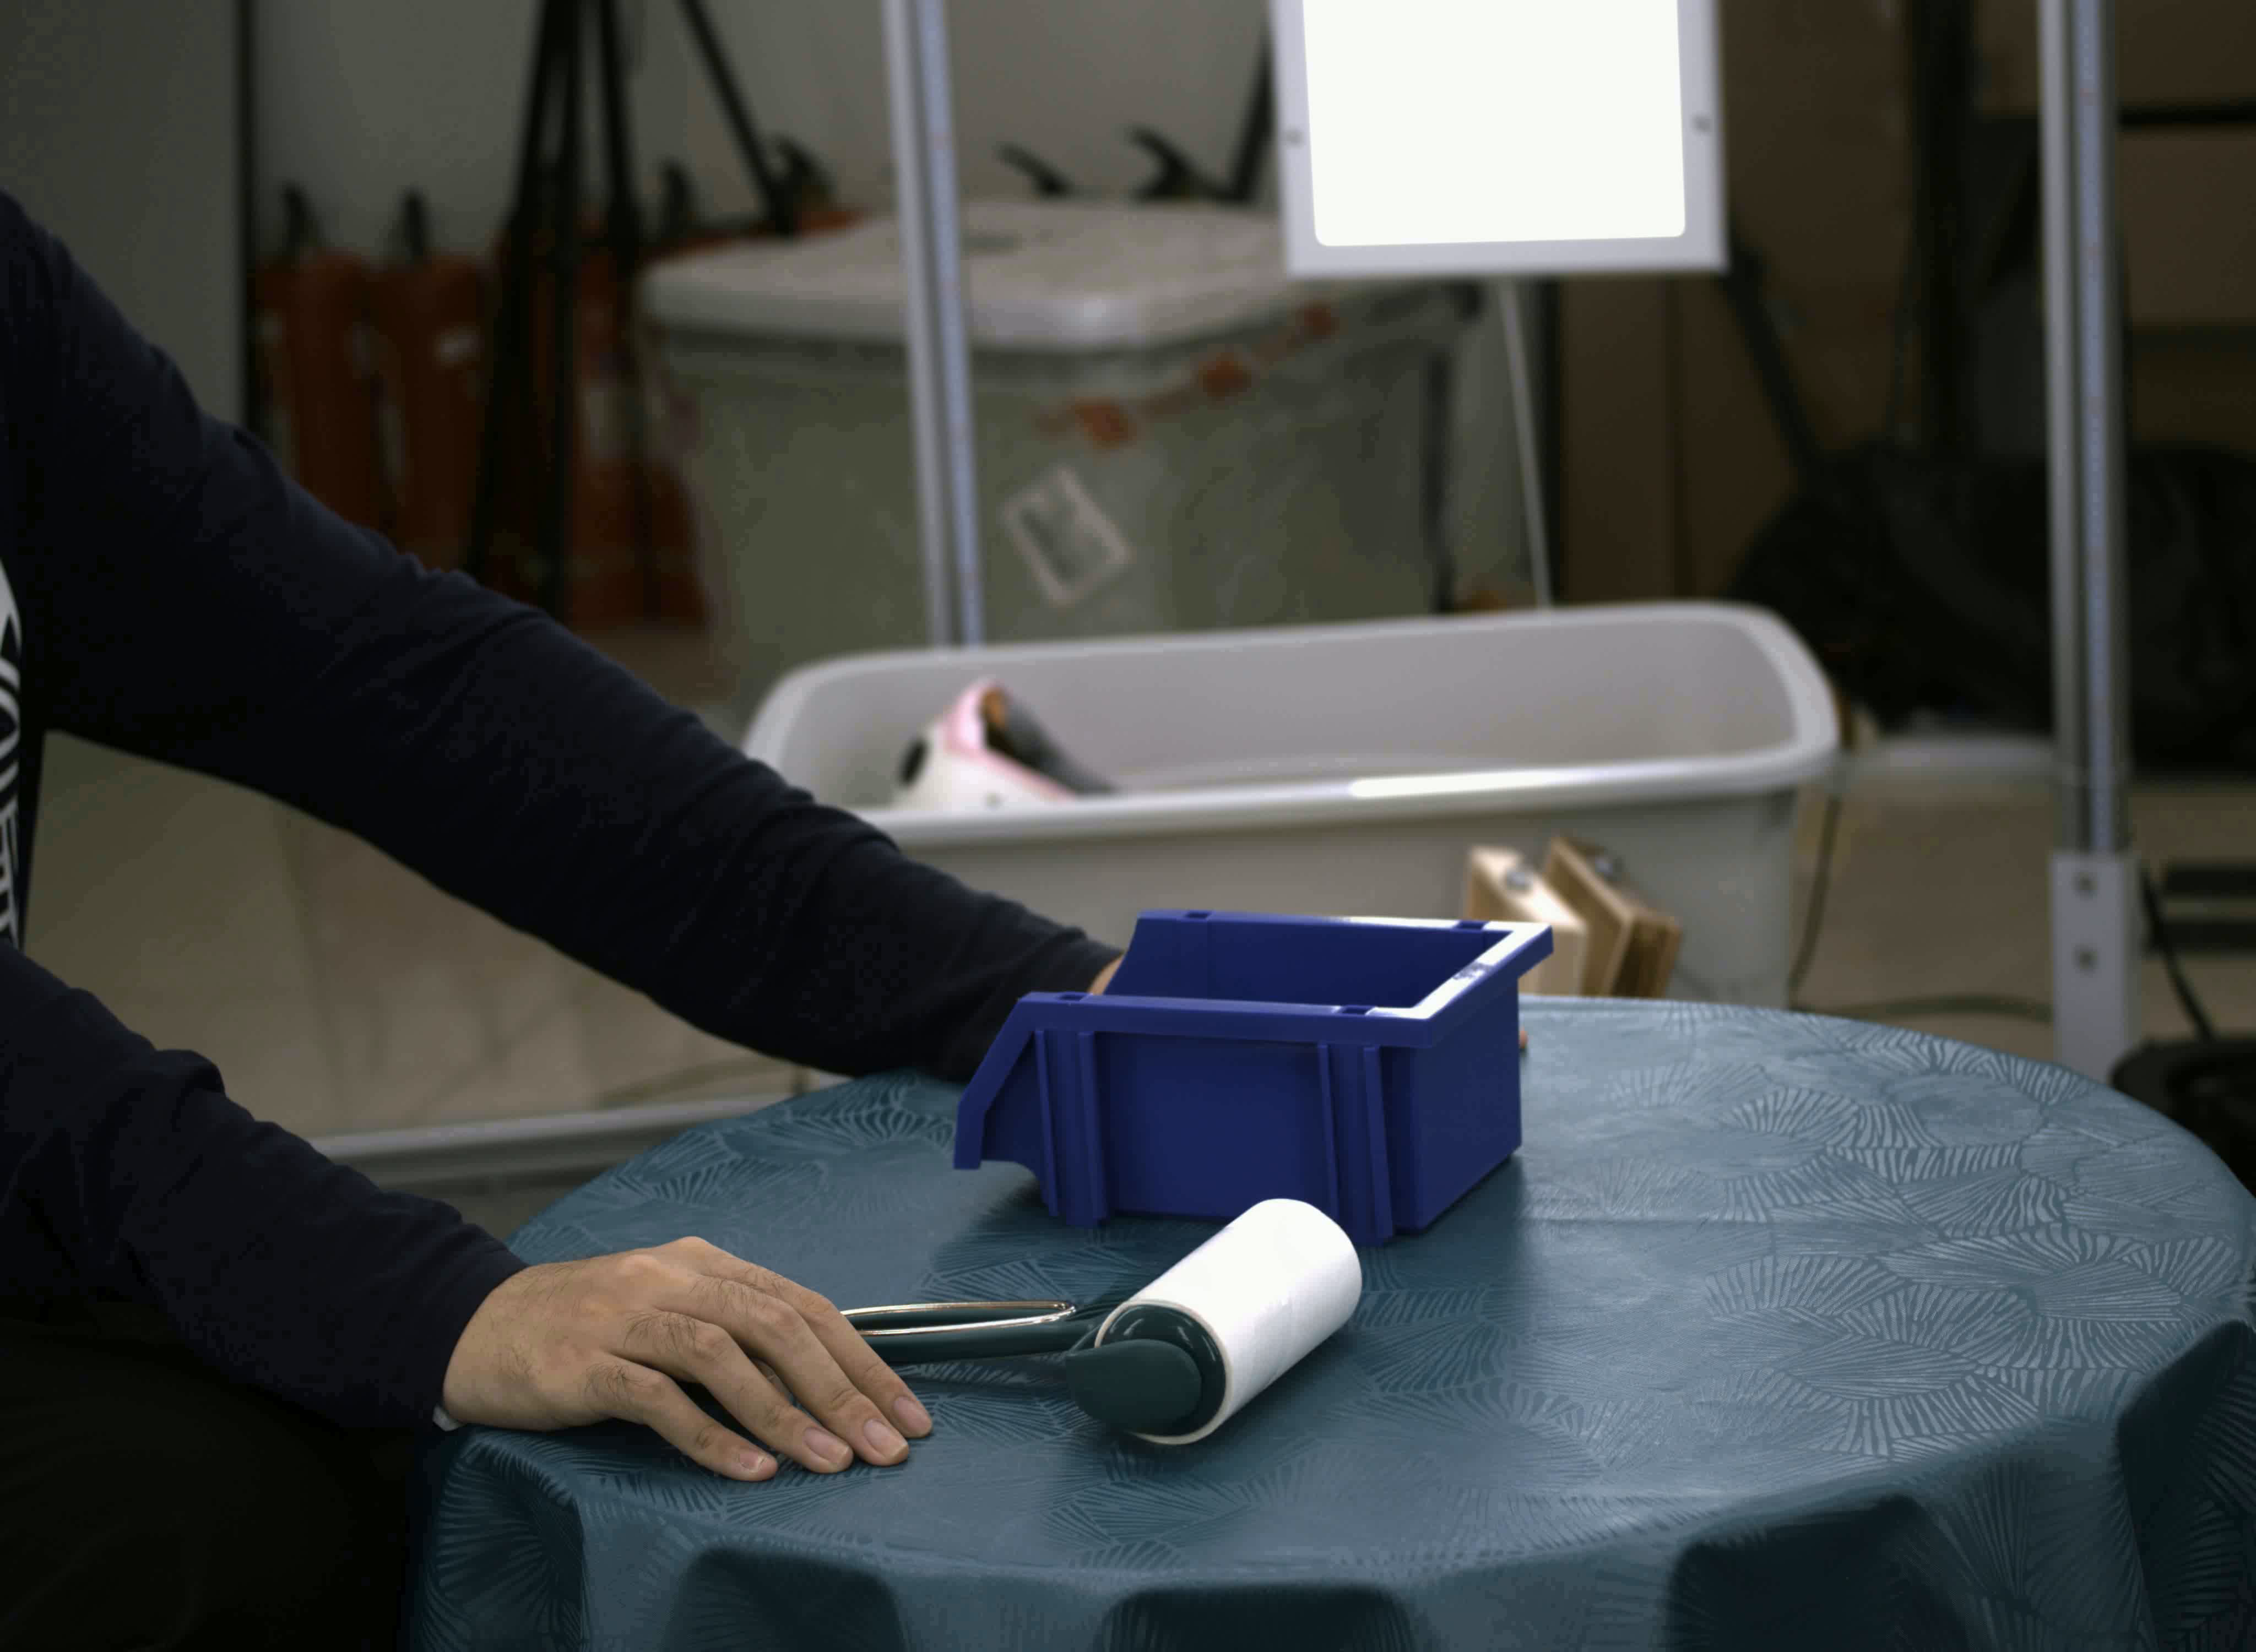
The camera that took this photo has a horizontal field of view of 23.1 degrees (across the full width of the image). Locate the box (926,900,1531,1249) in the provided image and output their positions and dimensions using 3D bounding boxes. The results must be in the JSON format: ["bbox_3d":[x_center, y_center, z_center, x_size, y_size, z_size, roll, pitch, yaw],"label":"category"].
[{"bbox_3d":[0.034,0.084,1.895,0.182,0.082,0.122,5,18,27],"label":"box"}]

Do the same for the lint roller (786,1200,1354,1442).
[{"bbox_3d":[-0.029,0.153,1.721,0.183,0.048,0.131,-2,13,27],"label":"lint roller"}]
